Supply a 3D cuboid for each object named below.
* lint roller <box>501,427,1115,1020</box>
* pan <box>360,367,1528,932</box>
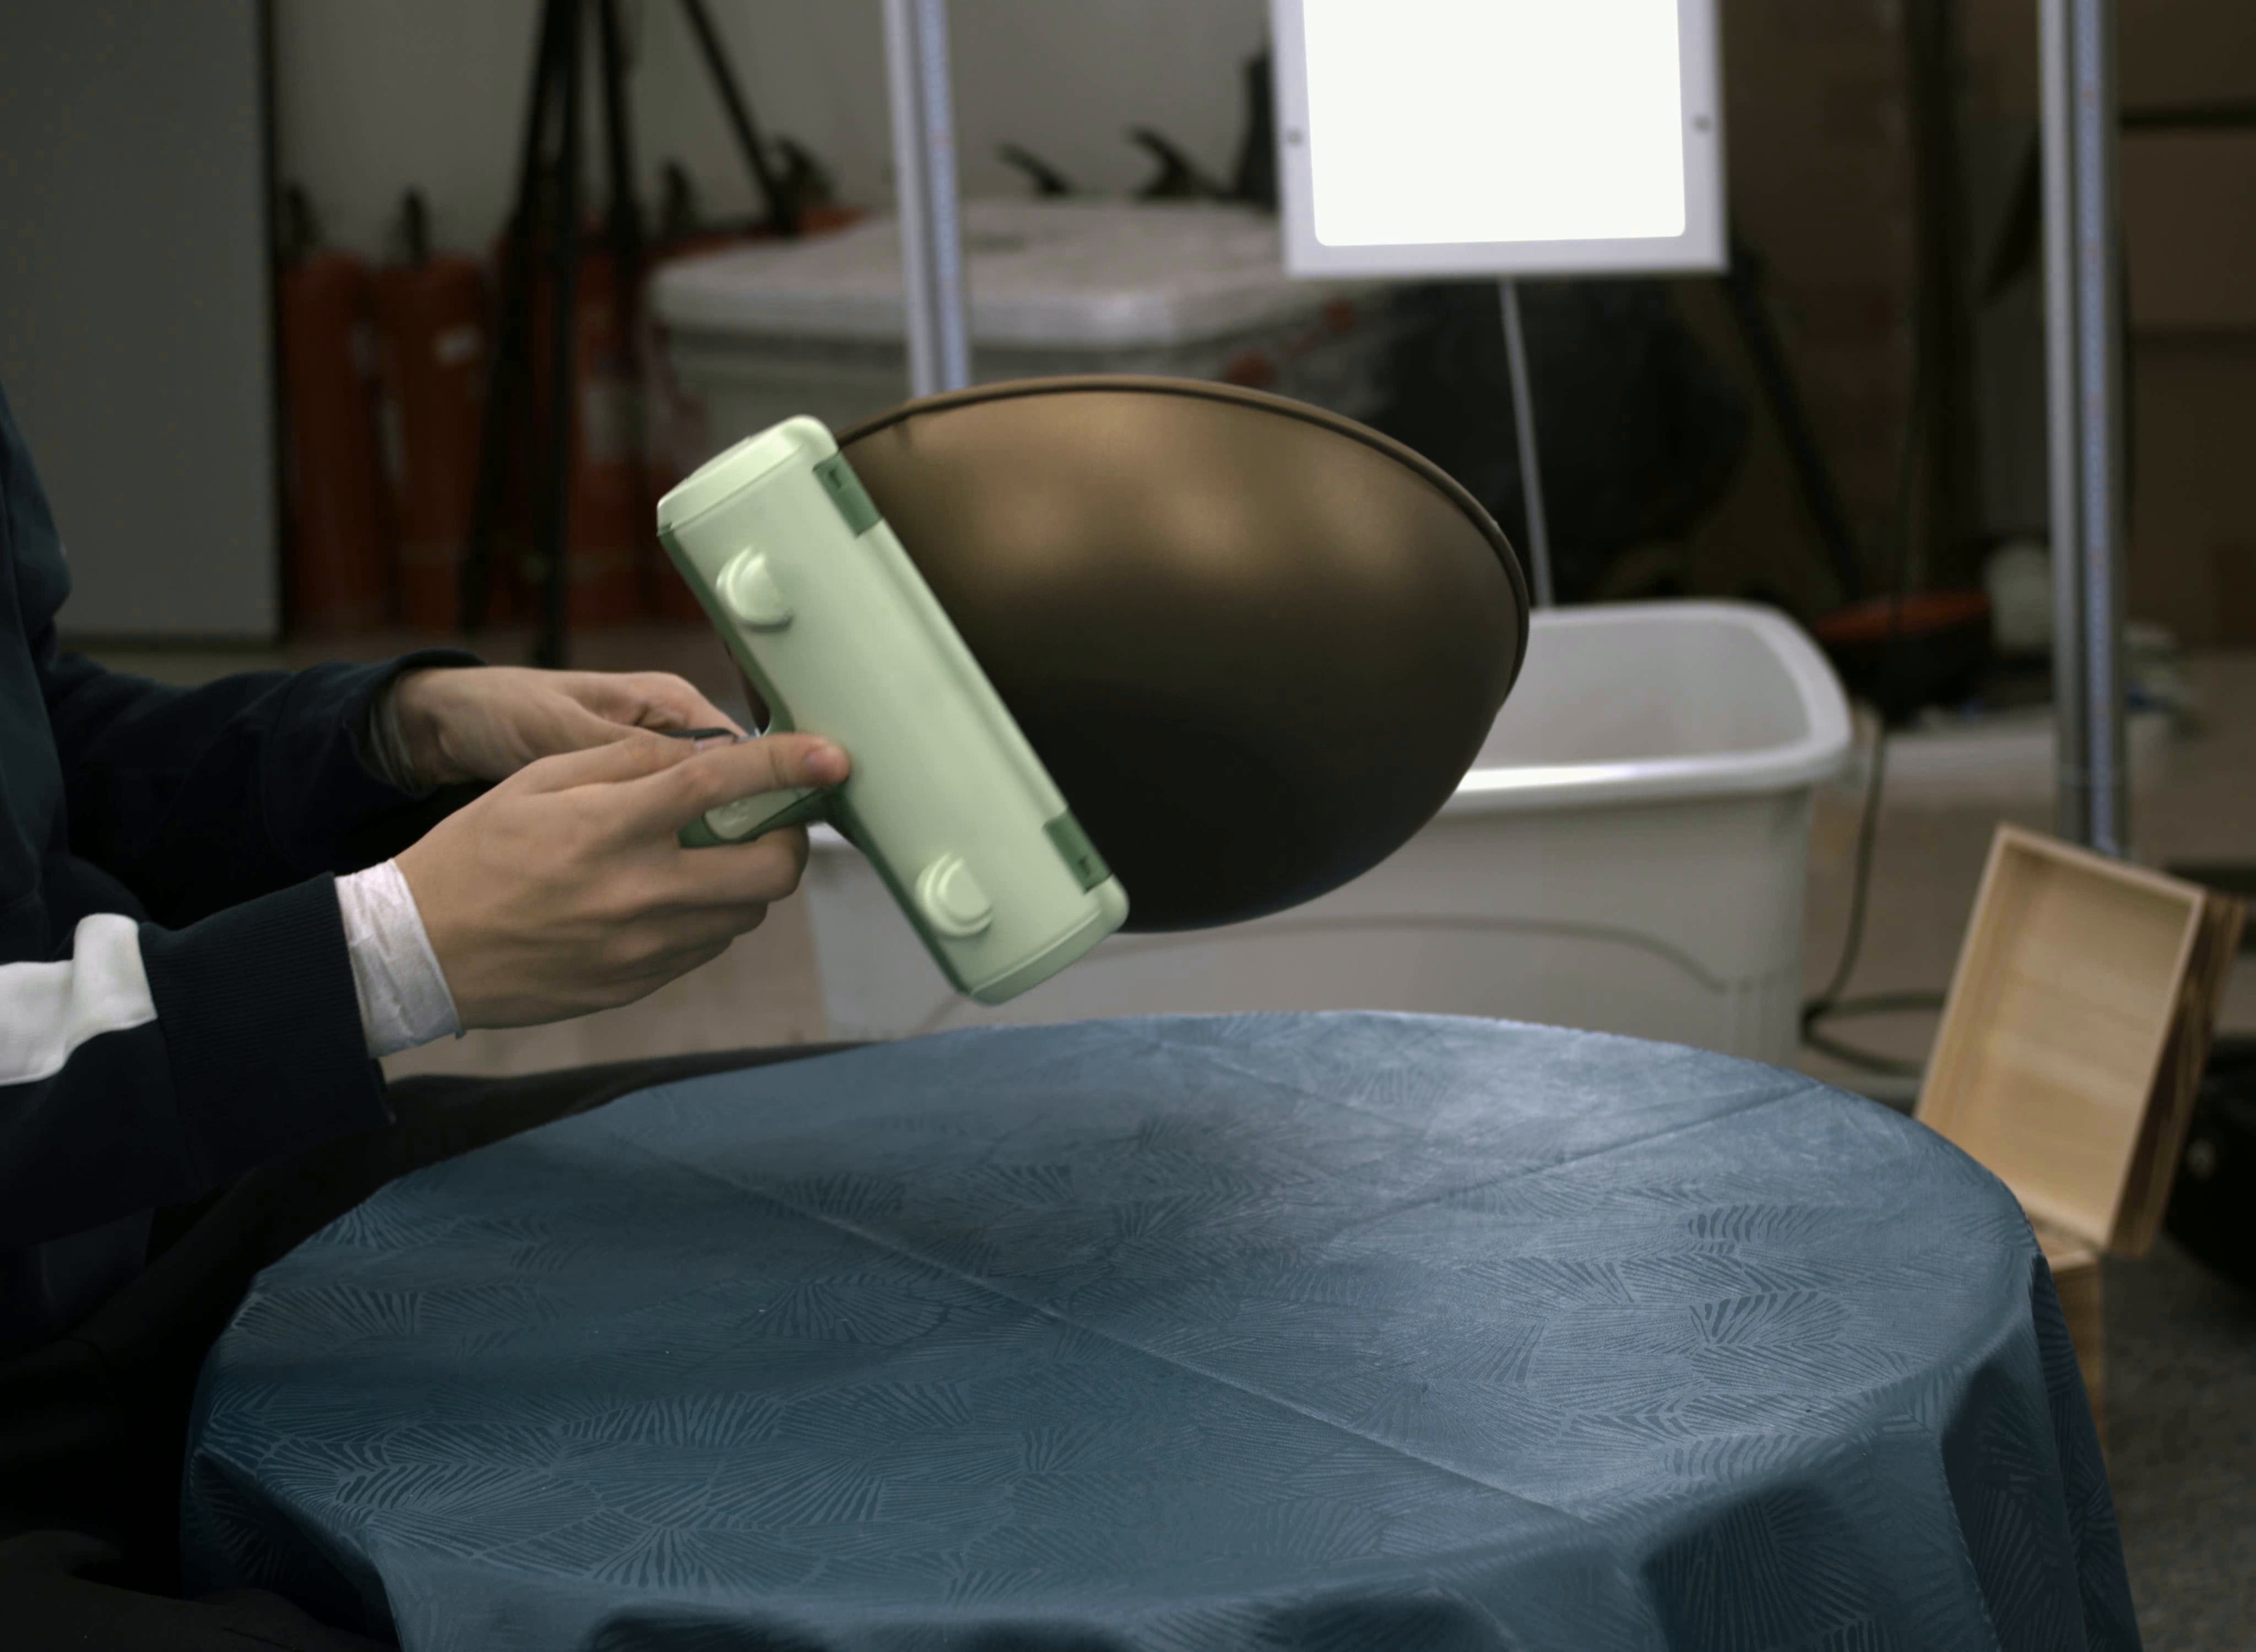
[{"bbox_3d":[-0.128,-0.002,1.765,0.184,0.198,0.081,-31,8,11],"label":"lint roller"},{"bbox_3d":[-0.082,-0.016,1.892,0.472,0.086,0.283,-17,-36,28],"label":"pan"}]
